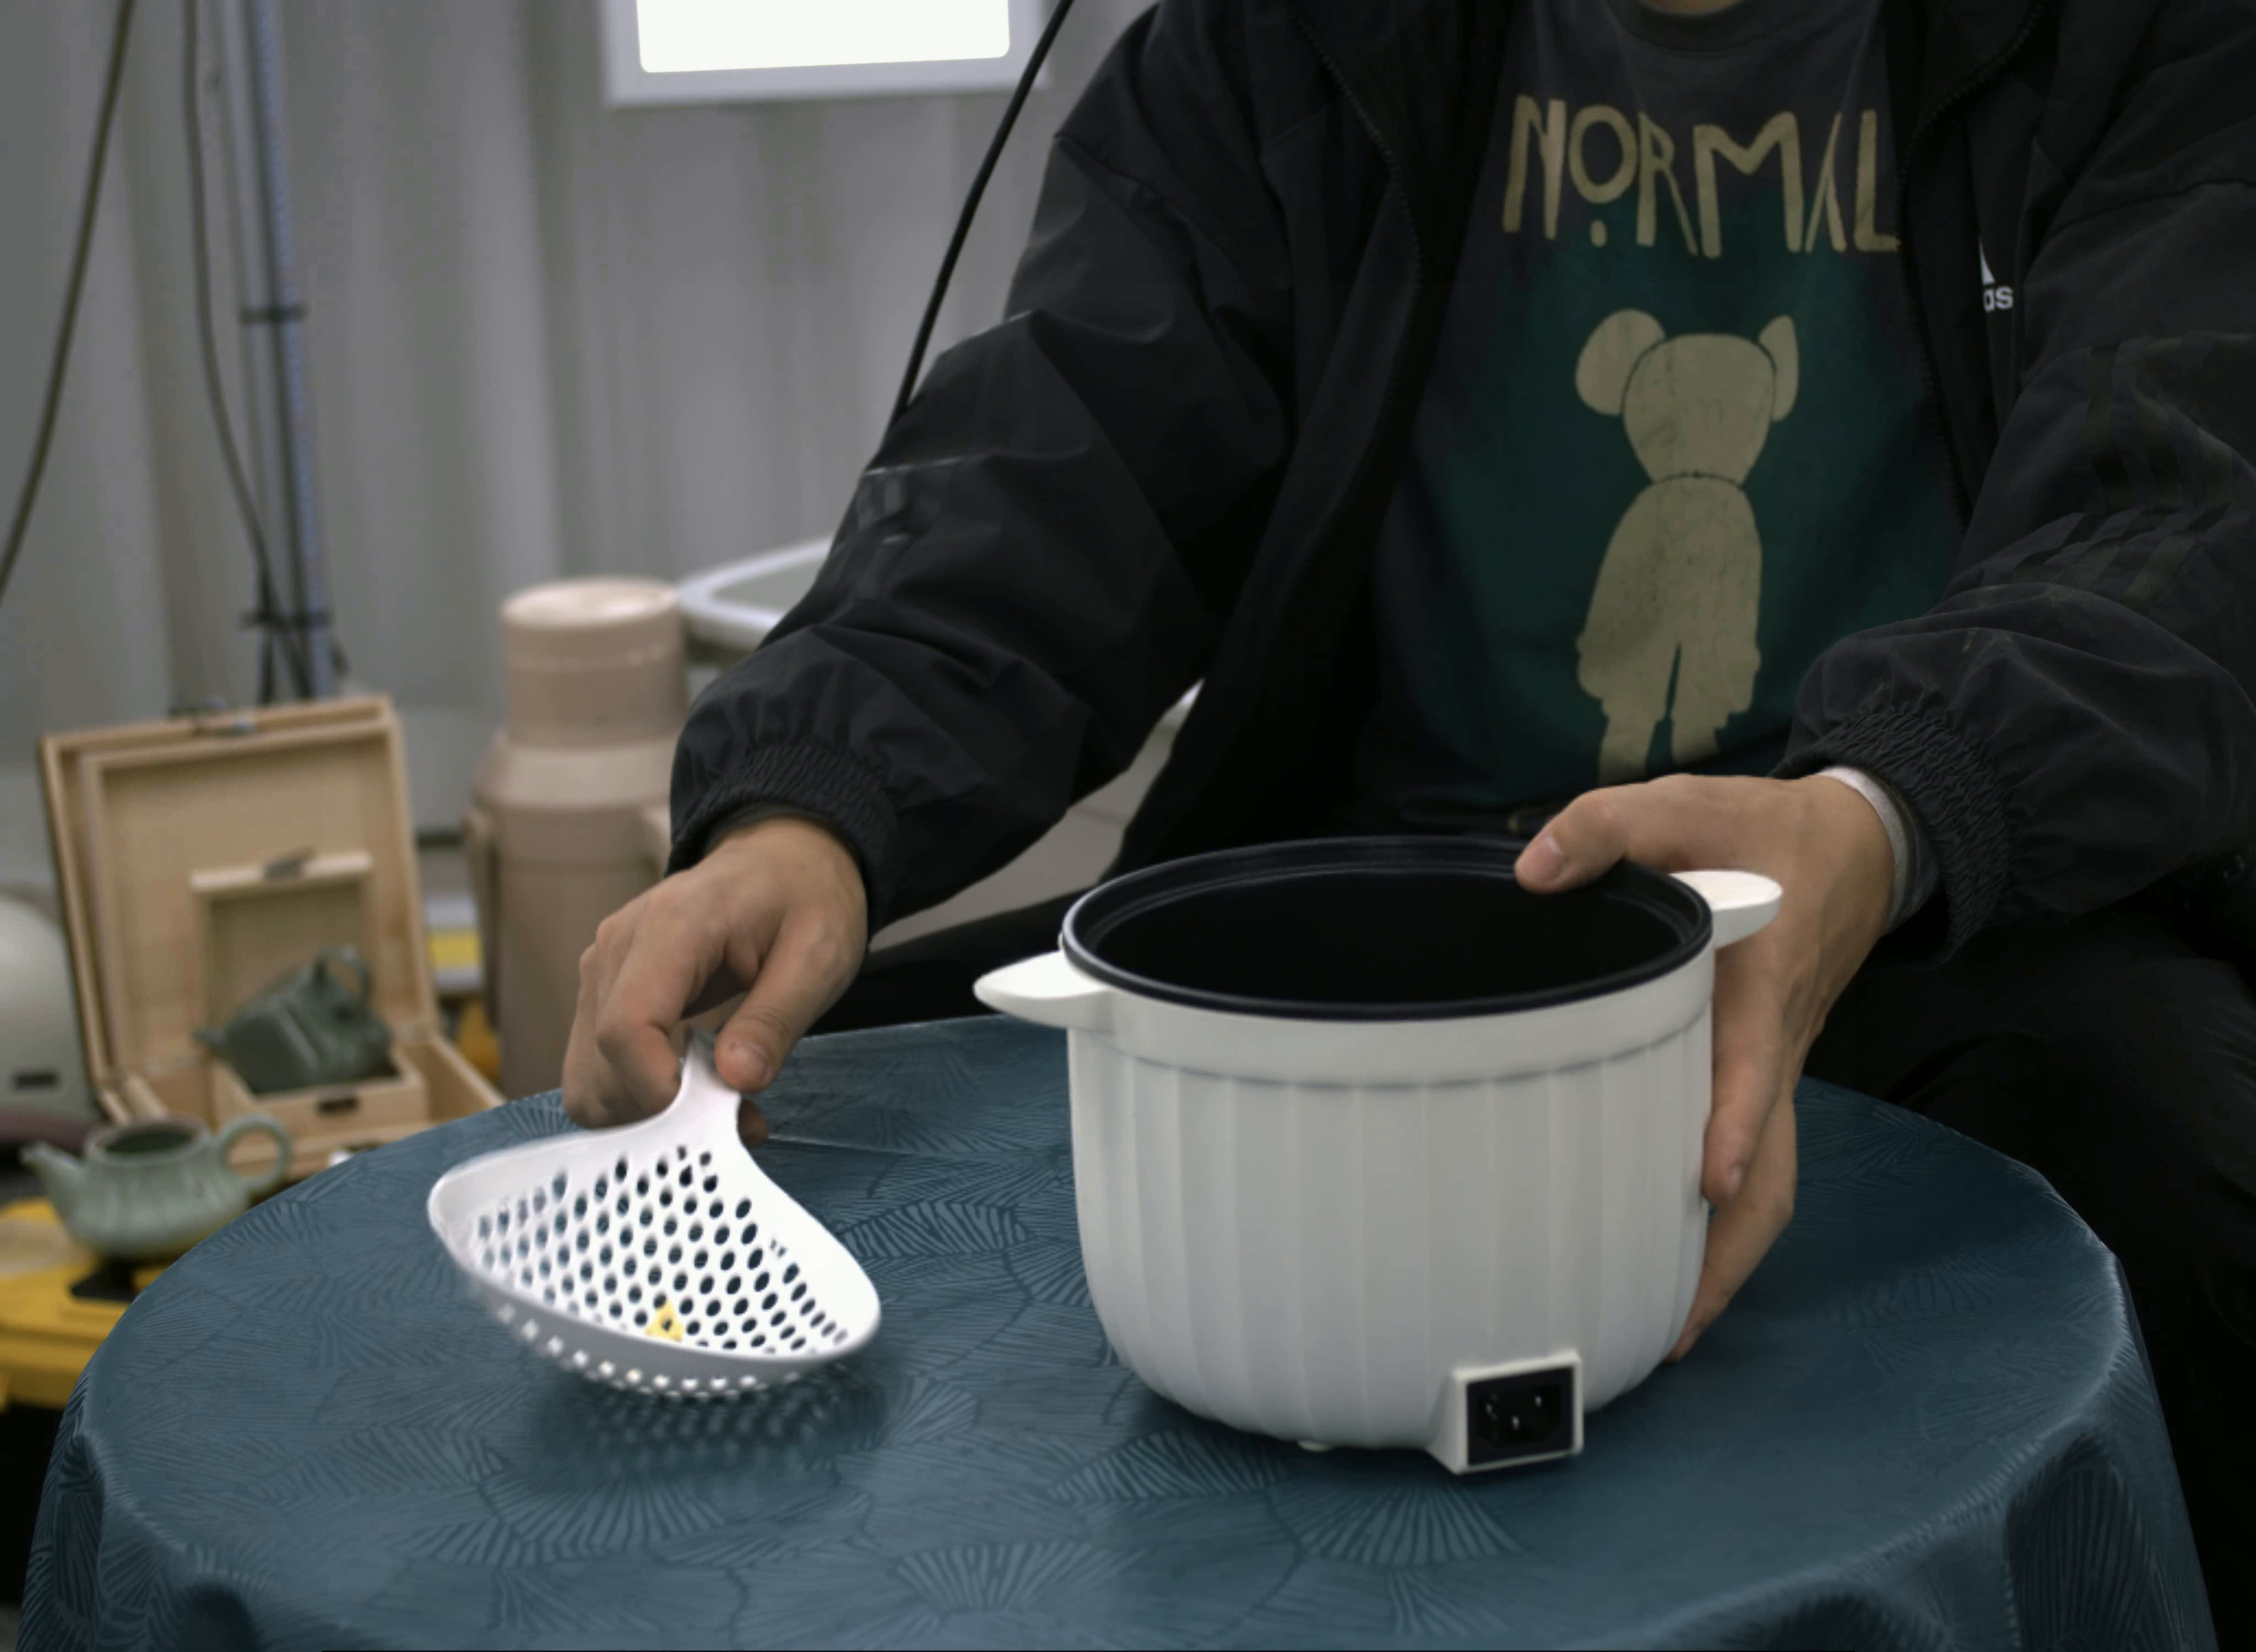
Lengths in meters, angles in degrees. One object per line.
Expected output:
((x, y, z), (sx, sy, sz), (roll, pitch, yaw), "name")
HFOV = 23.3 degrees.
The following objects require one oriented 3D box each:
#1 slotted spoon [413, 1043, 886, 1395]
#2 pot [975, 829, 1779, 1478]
((-0.136, 0.107, 1.671), (0.136, 0.050, 0.350), (10, 17, -1), "slotted spoon")
((0.070, 0.088, 1.530), (0.239, 0.142, 0.192), (-6, 18, -20), "pot")
